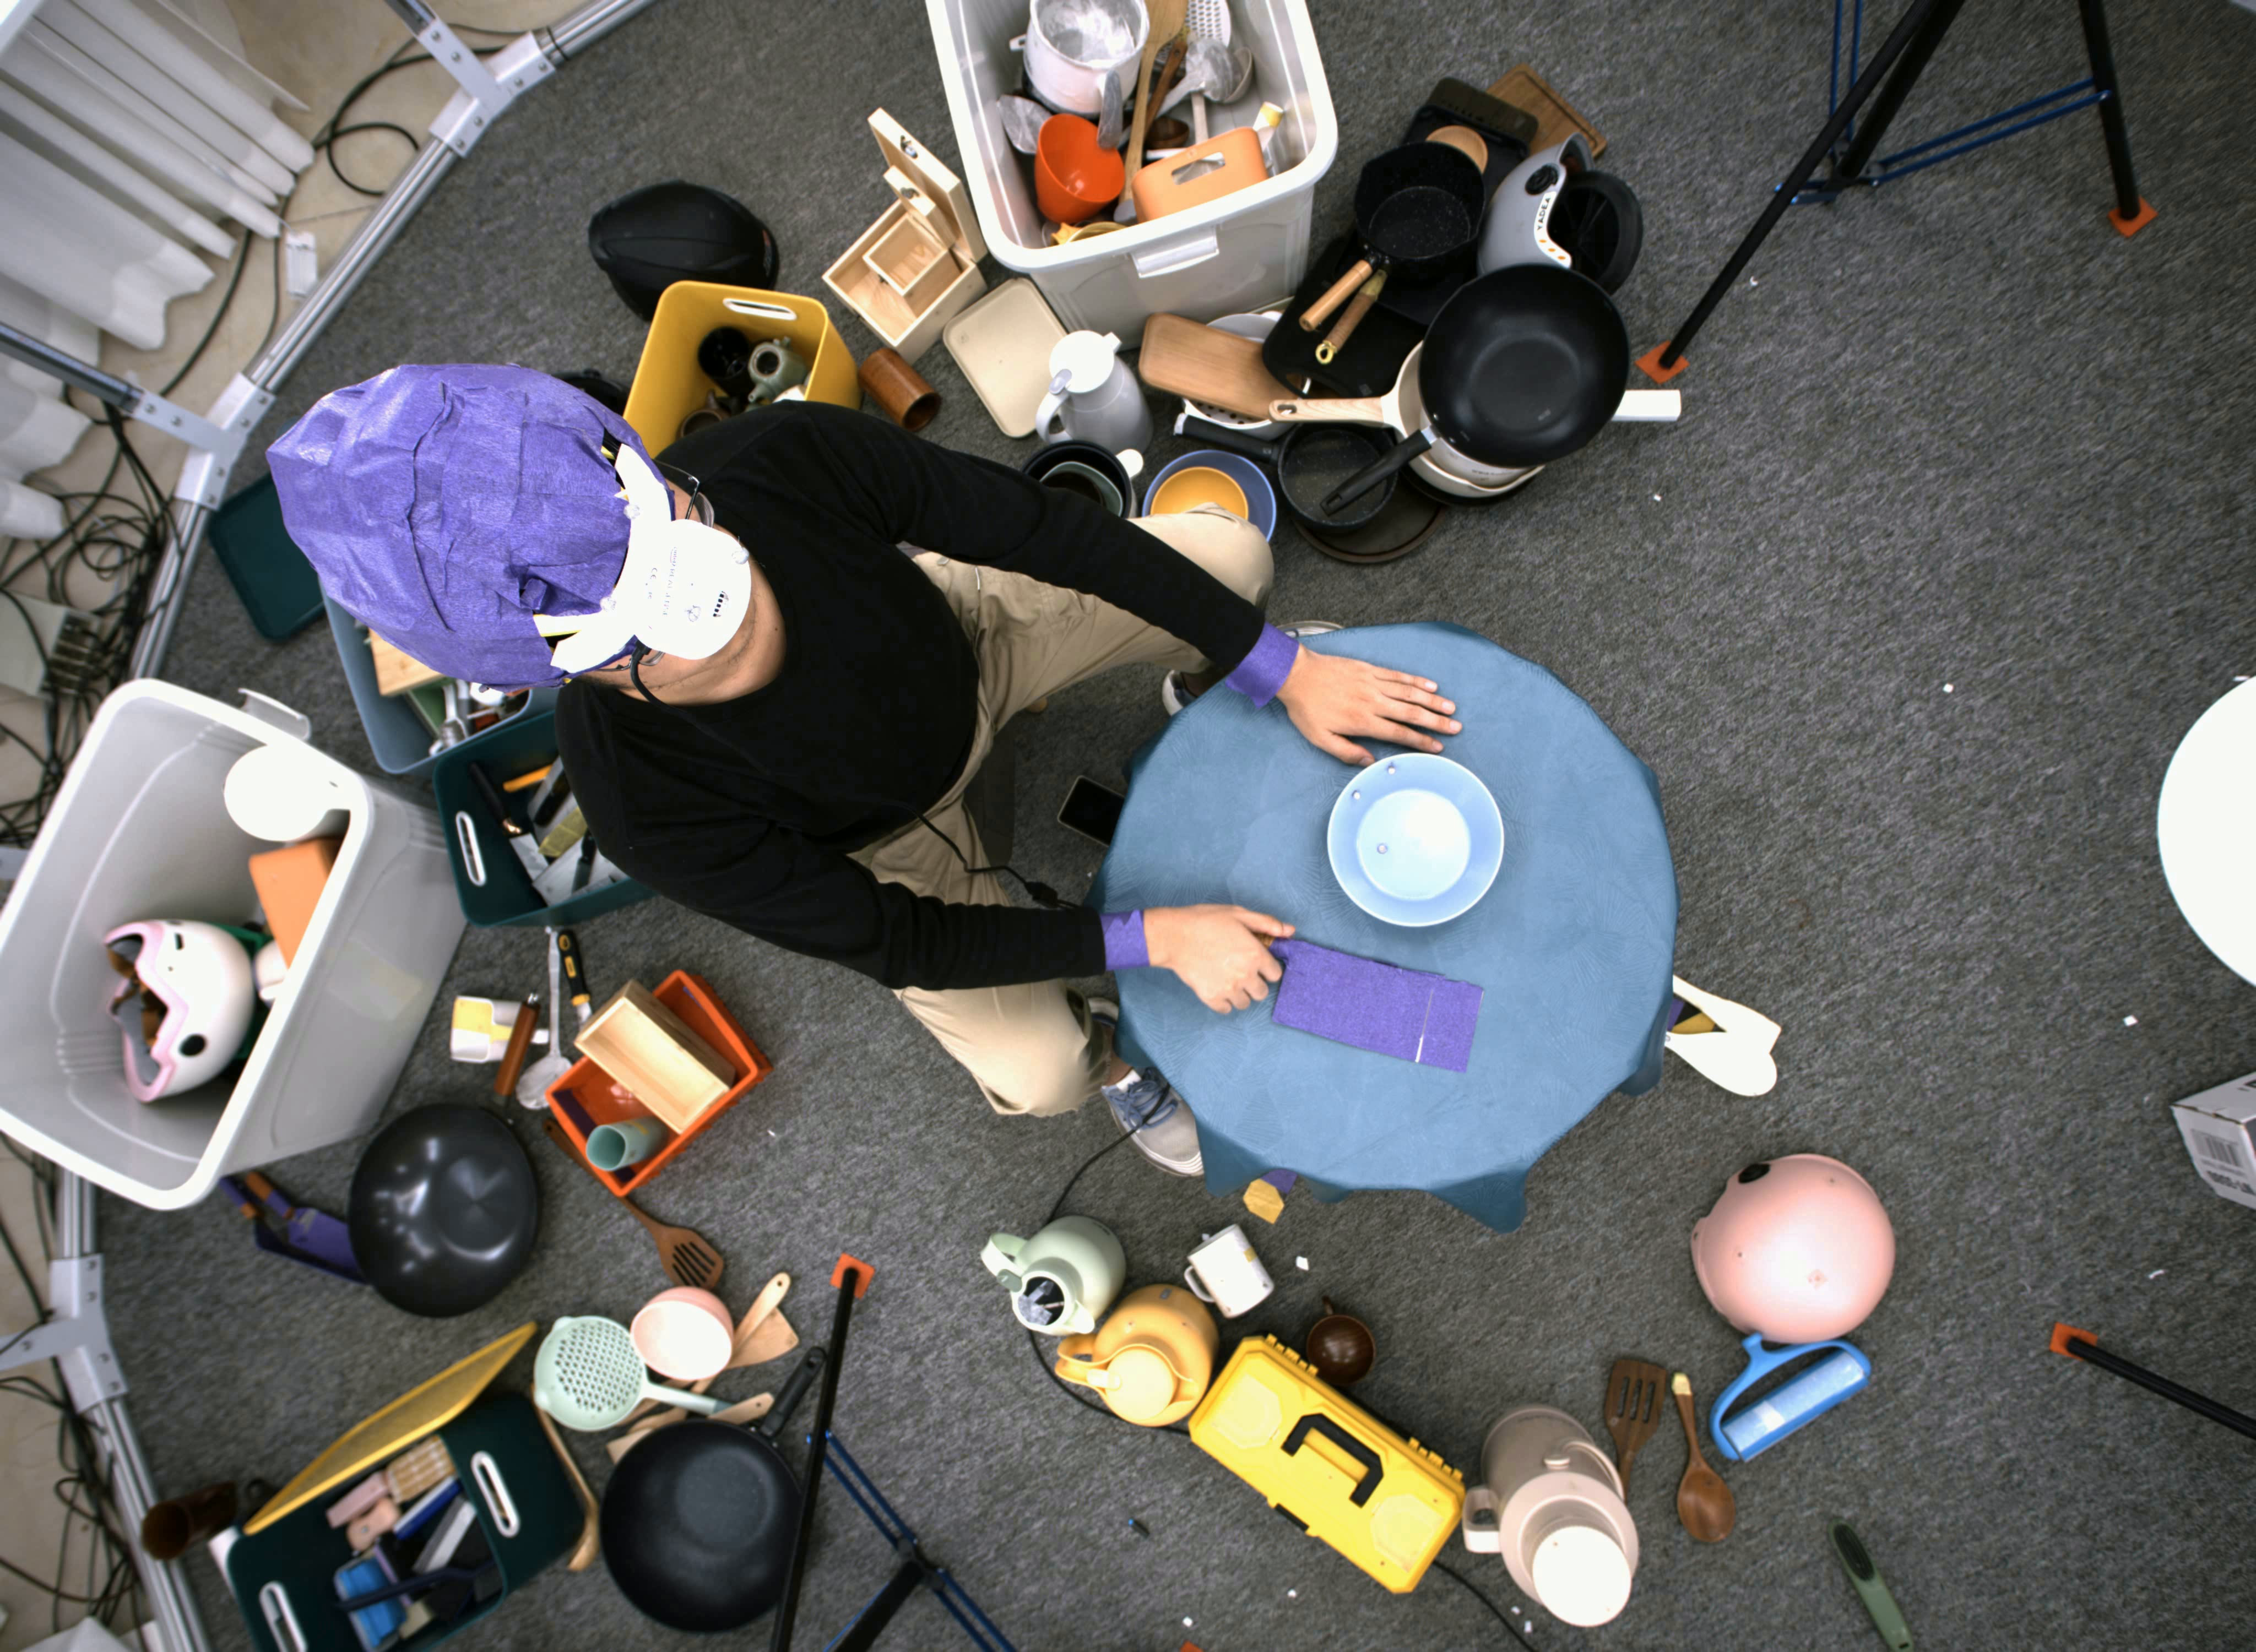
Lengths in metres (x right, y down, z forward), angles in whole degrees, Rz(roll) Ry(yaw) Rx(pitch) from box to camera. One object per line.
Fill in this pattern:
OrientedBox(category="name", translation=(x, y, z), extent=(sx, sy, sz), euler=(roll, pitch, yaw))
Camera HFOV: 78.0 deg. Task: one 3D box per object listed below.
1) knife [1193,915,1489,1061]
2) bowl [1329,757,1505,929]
OrientedBox(category="knife", translation=(0.214, 0.171, 1.454), extent=(0.316, 0.032, 0.103), euler=(13, 89, 10))
OrientedBox(category="bowl", translation=(0.297, 0.019, 1.423), extent=(0.177, 0.070, 0.175), euler=(-1, 85, 11))
